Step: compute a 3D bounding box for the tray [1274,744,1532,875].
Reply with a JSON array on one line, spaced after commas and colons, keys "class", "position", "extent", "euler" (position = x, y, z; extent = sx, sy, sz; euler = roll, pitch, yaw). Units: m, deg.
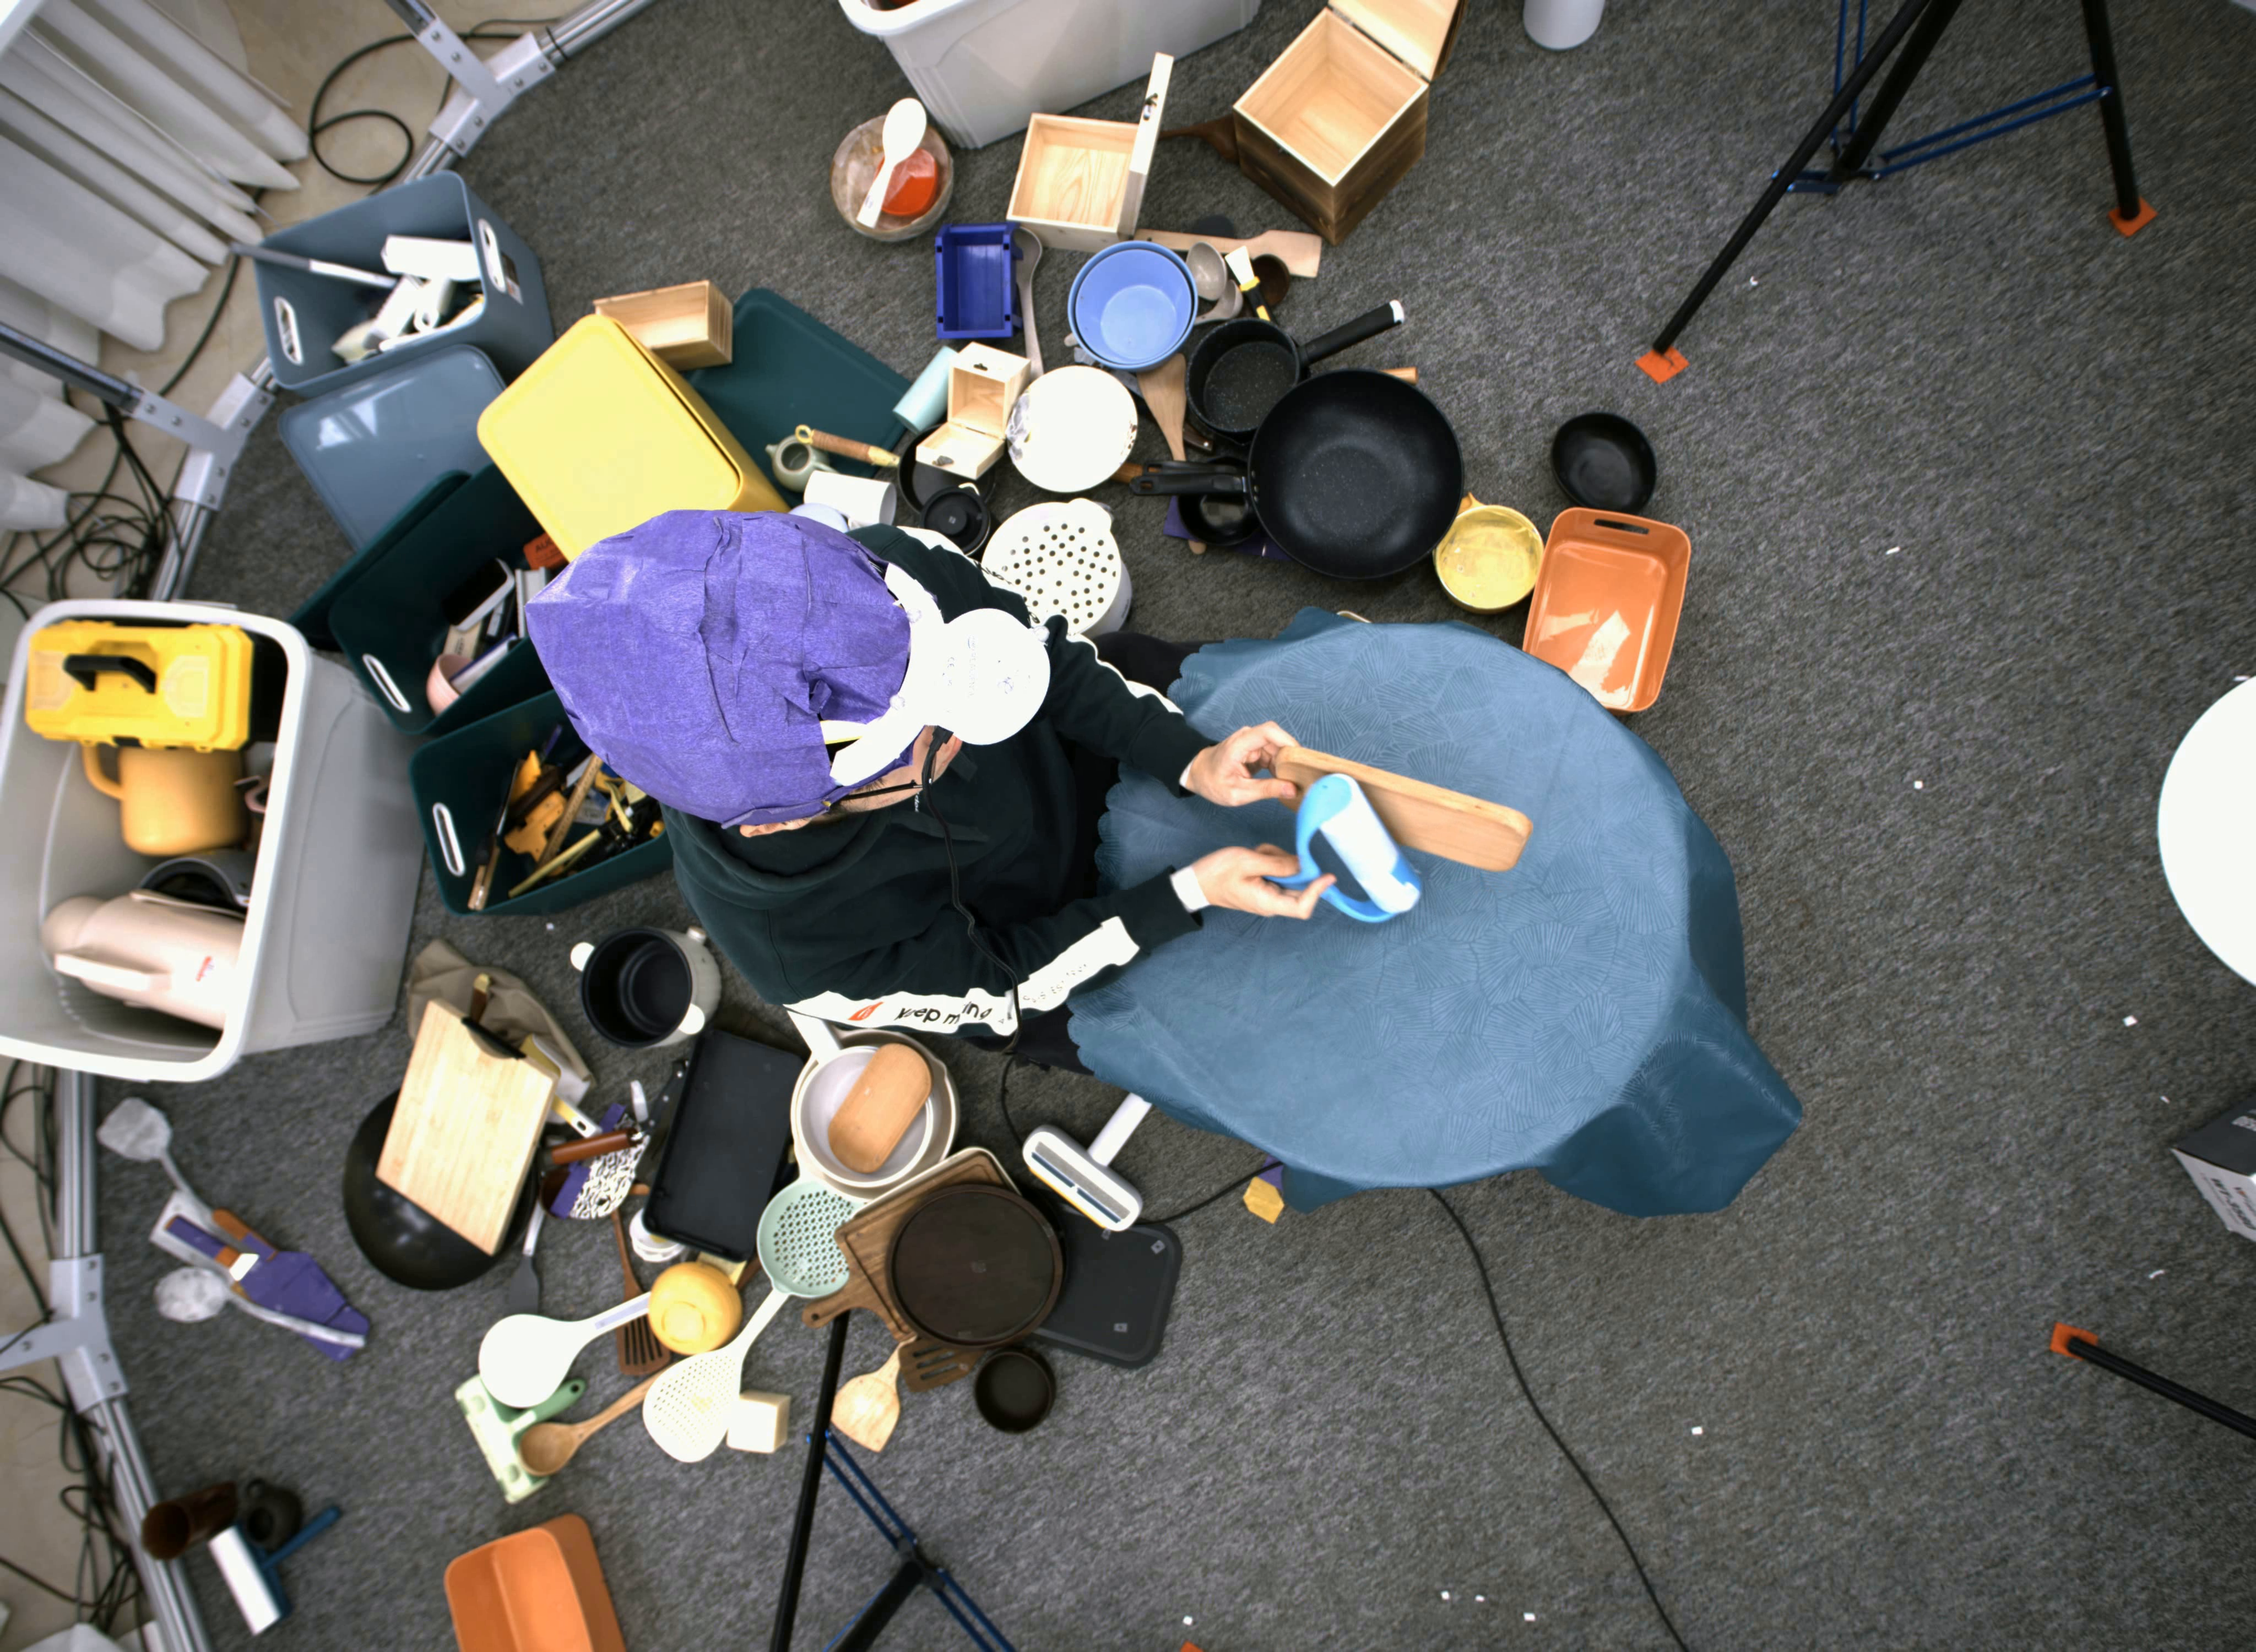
[{"class": "tray", "position": [0.259, -0.015, 1.330], "extent": [0.251, 0.133, 0.022], "euler": [17, 66, 13]}]

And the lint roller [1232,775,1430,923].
[{"class": "lint roller", "position": [0.187, 0.034, 1.370], "extent": [0.182, 0.231, 0.066], "euler": [-13, 57, 28]}]
